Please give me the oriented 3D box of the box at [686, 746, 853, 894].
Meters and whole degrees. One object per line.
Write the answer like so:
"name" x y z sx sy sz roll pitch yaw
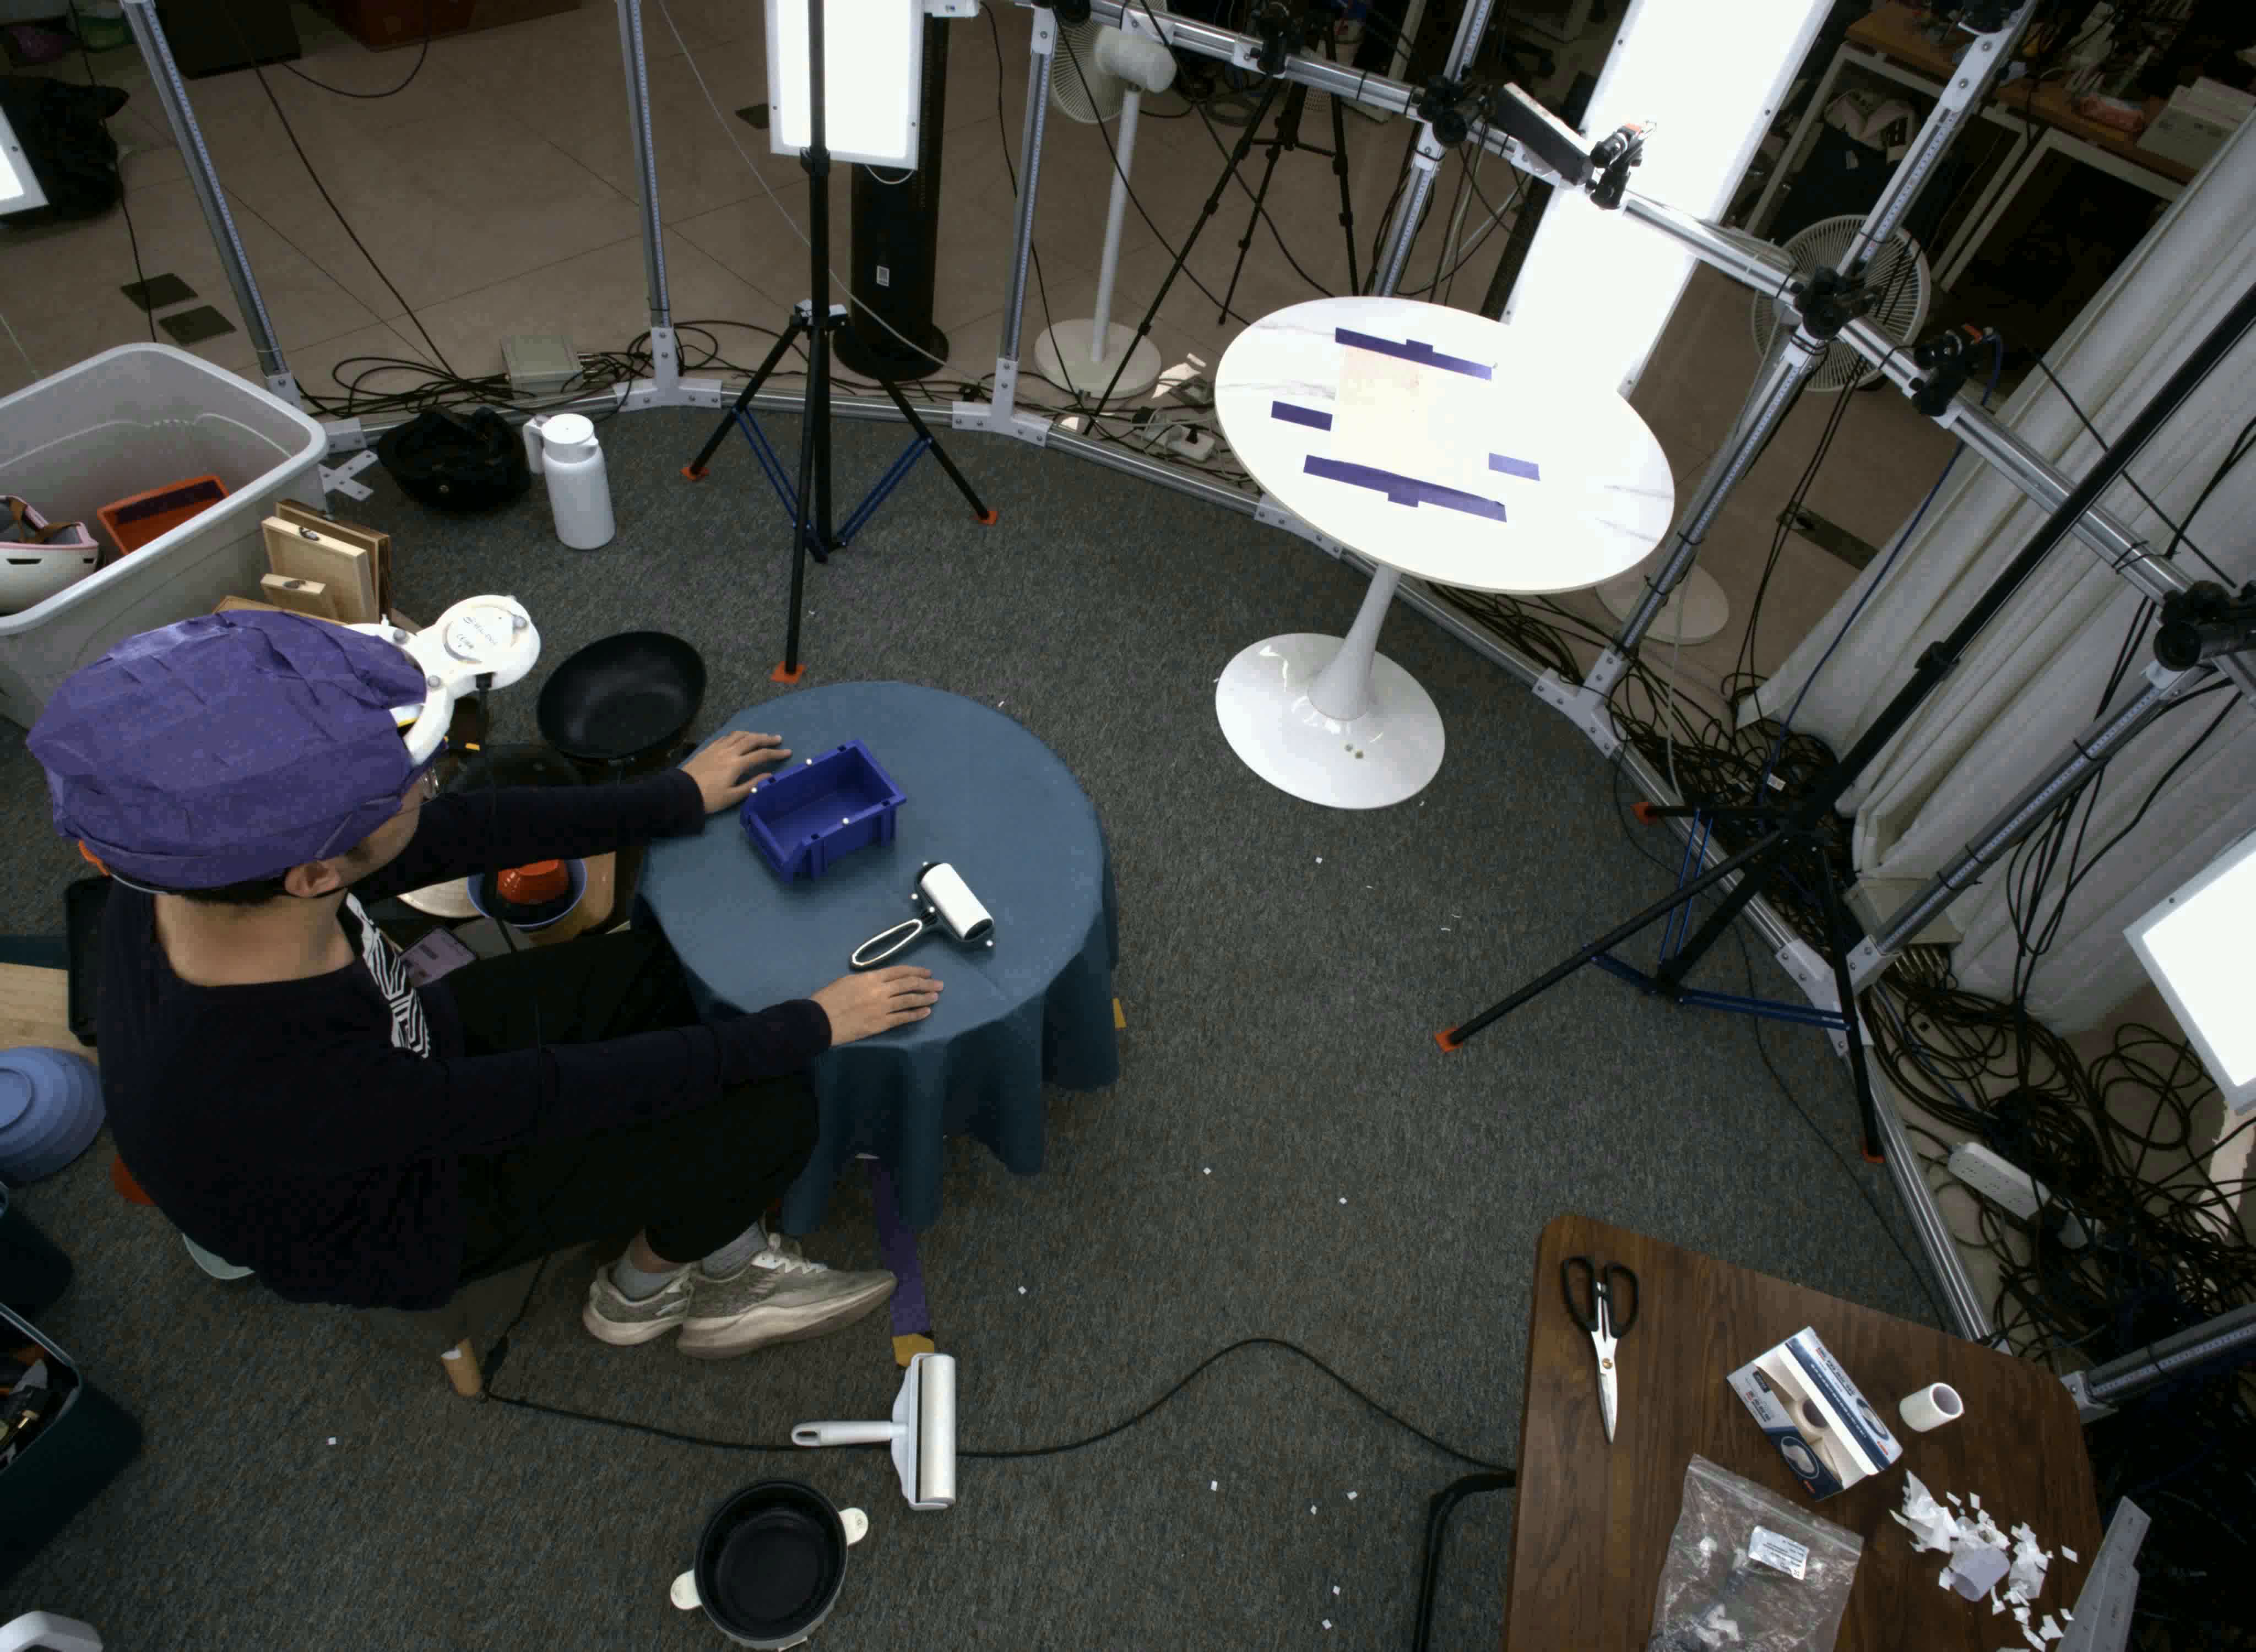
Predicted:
"box" -0.464 -0.004 1.676 0.180 0.083 0.121 -29 65 -33

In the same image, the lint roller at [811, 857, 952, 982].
"lint roller" -0.325 0.131 1.637 0.180 0.049 0.131 -33 66 -28
